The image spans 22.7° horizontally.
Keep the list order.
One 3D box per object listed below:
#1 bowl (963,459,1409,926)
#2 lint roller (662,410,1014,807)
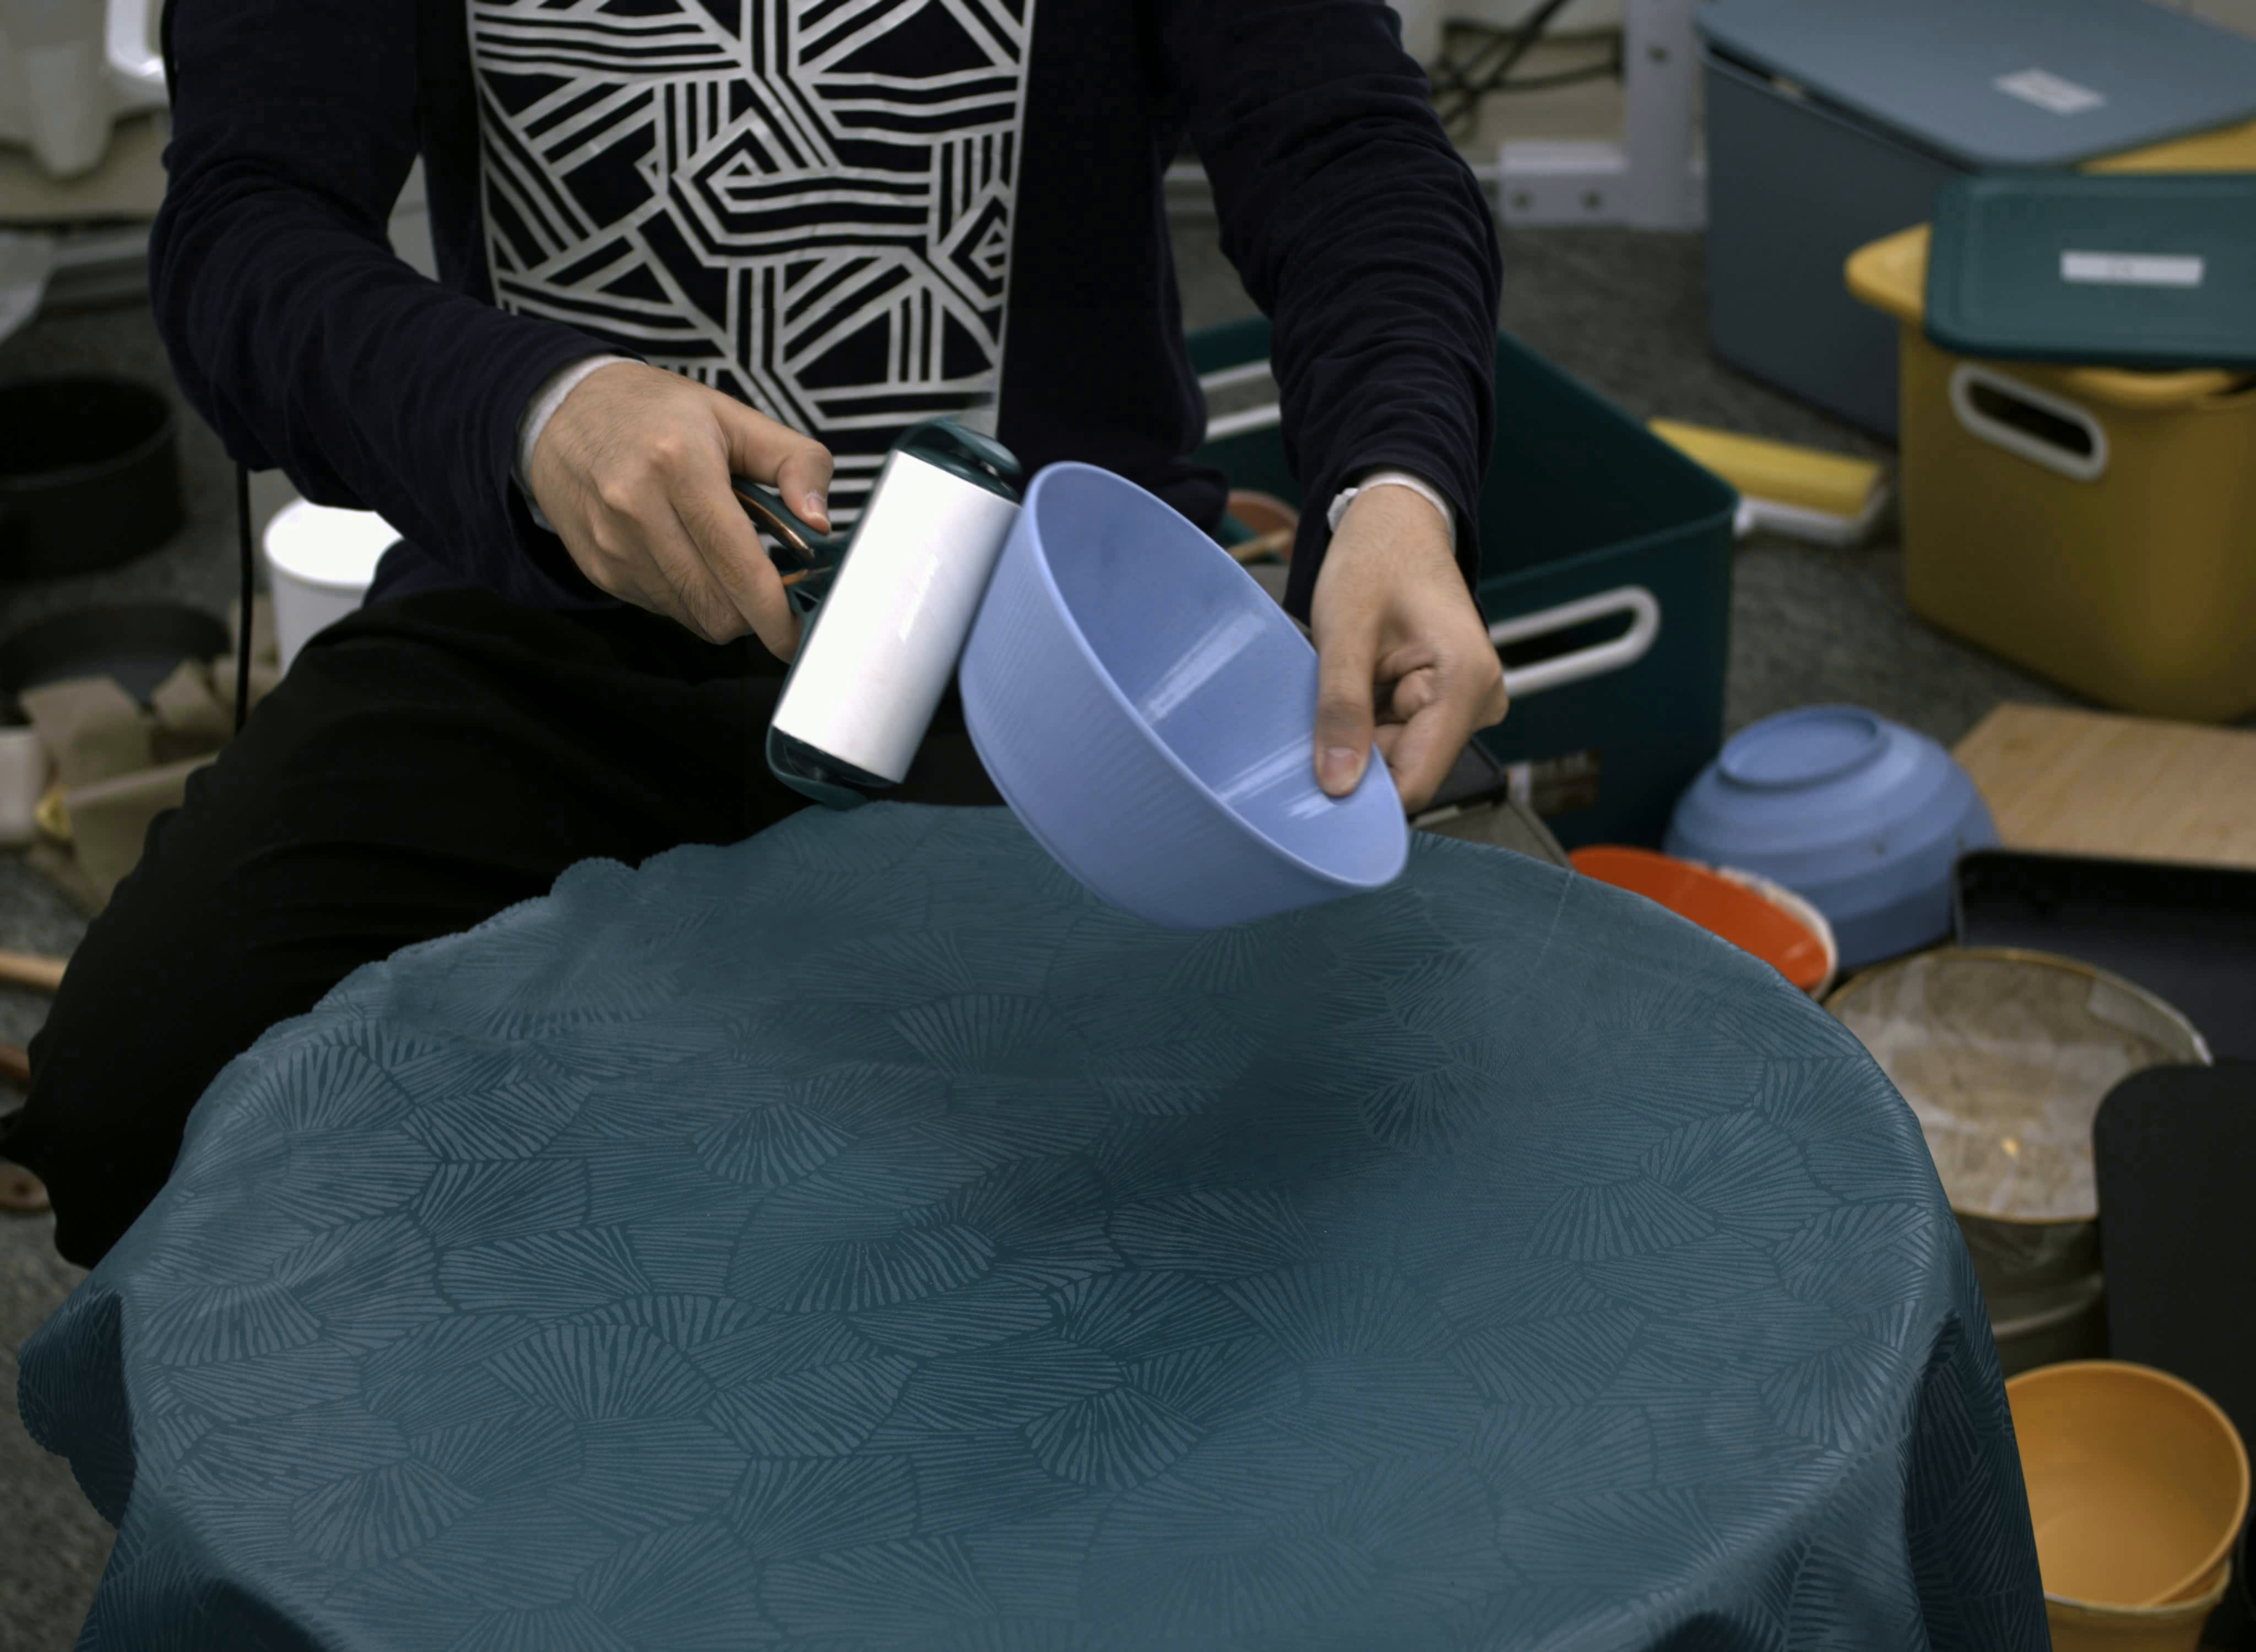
[{"bbox_3d":[0.009,-0.033,1.839,0.069,0.175,0.179,-41,19,20],"label":"bowl"},{"bbox_3d":[-0.118,-0.090,1.881,0.048,0.135,0.180,23,1,-43],"label":"lint roller"}]
